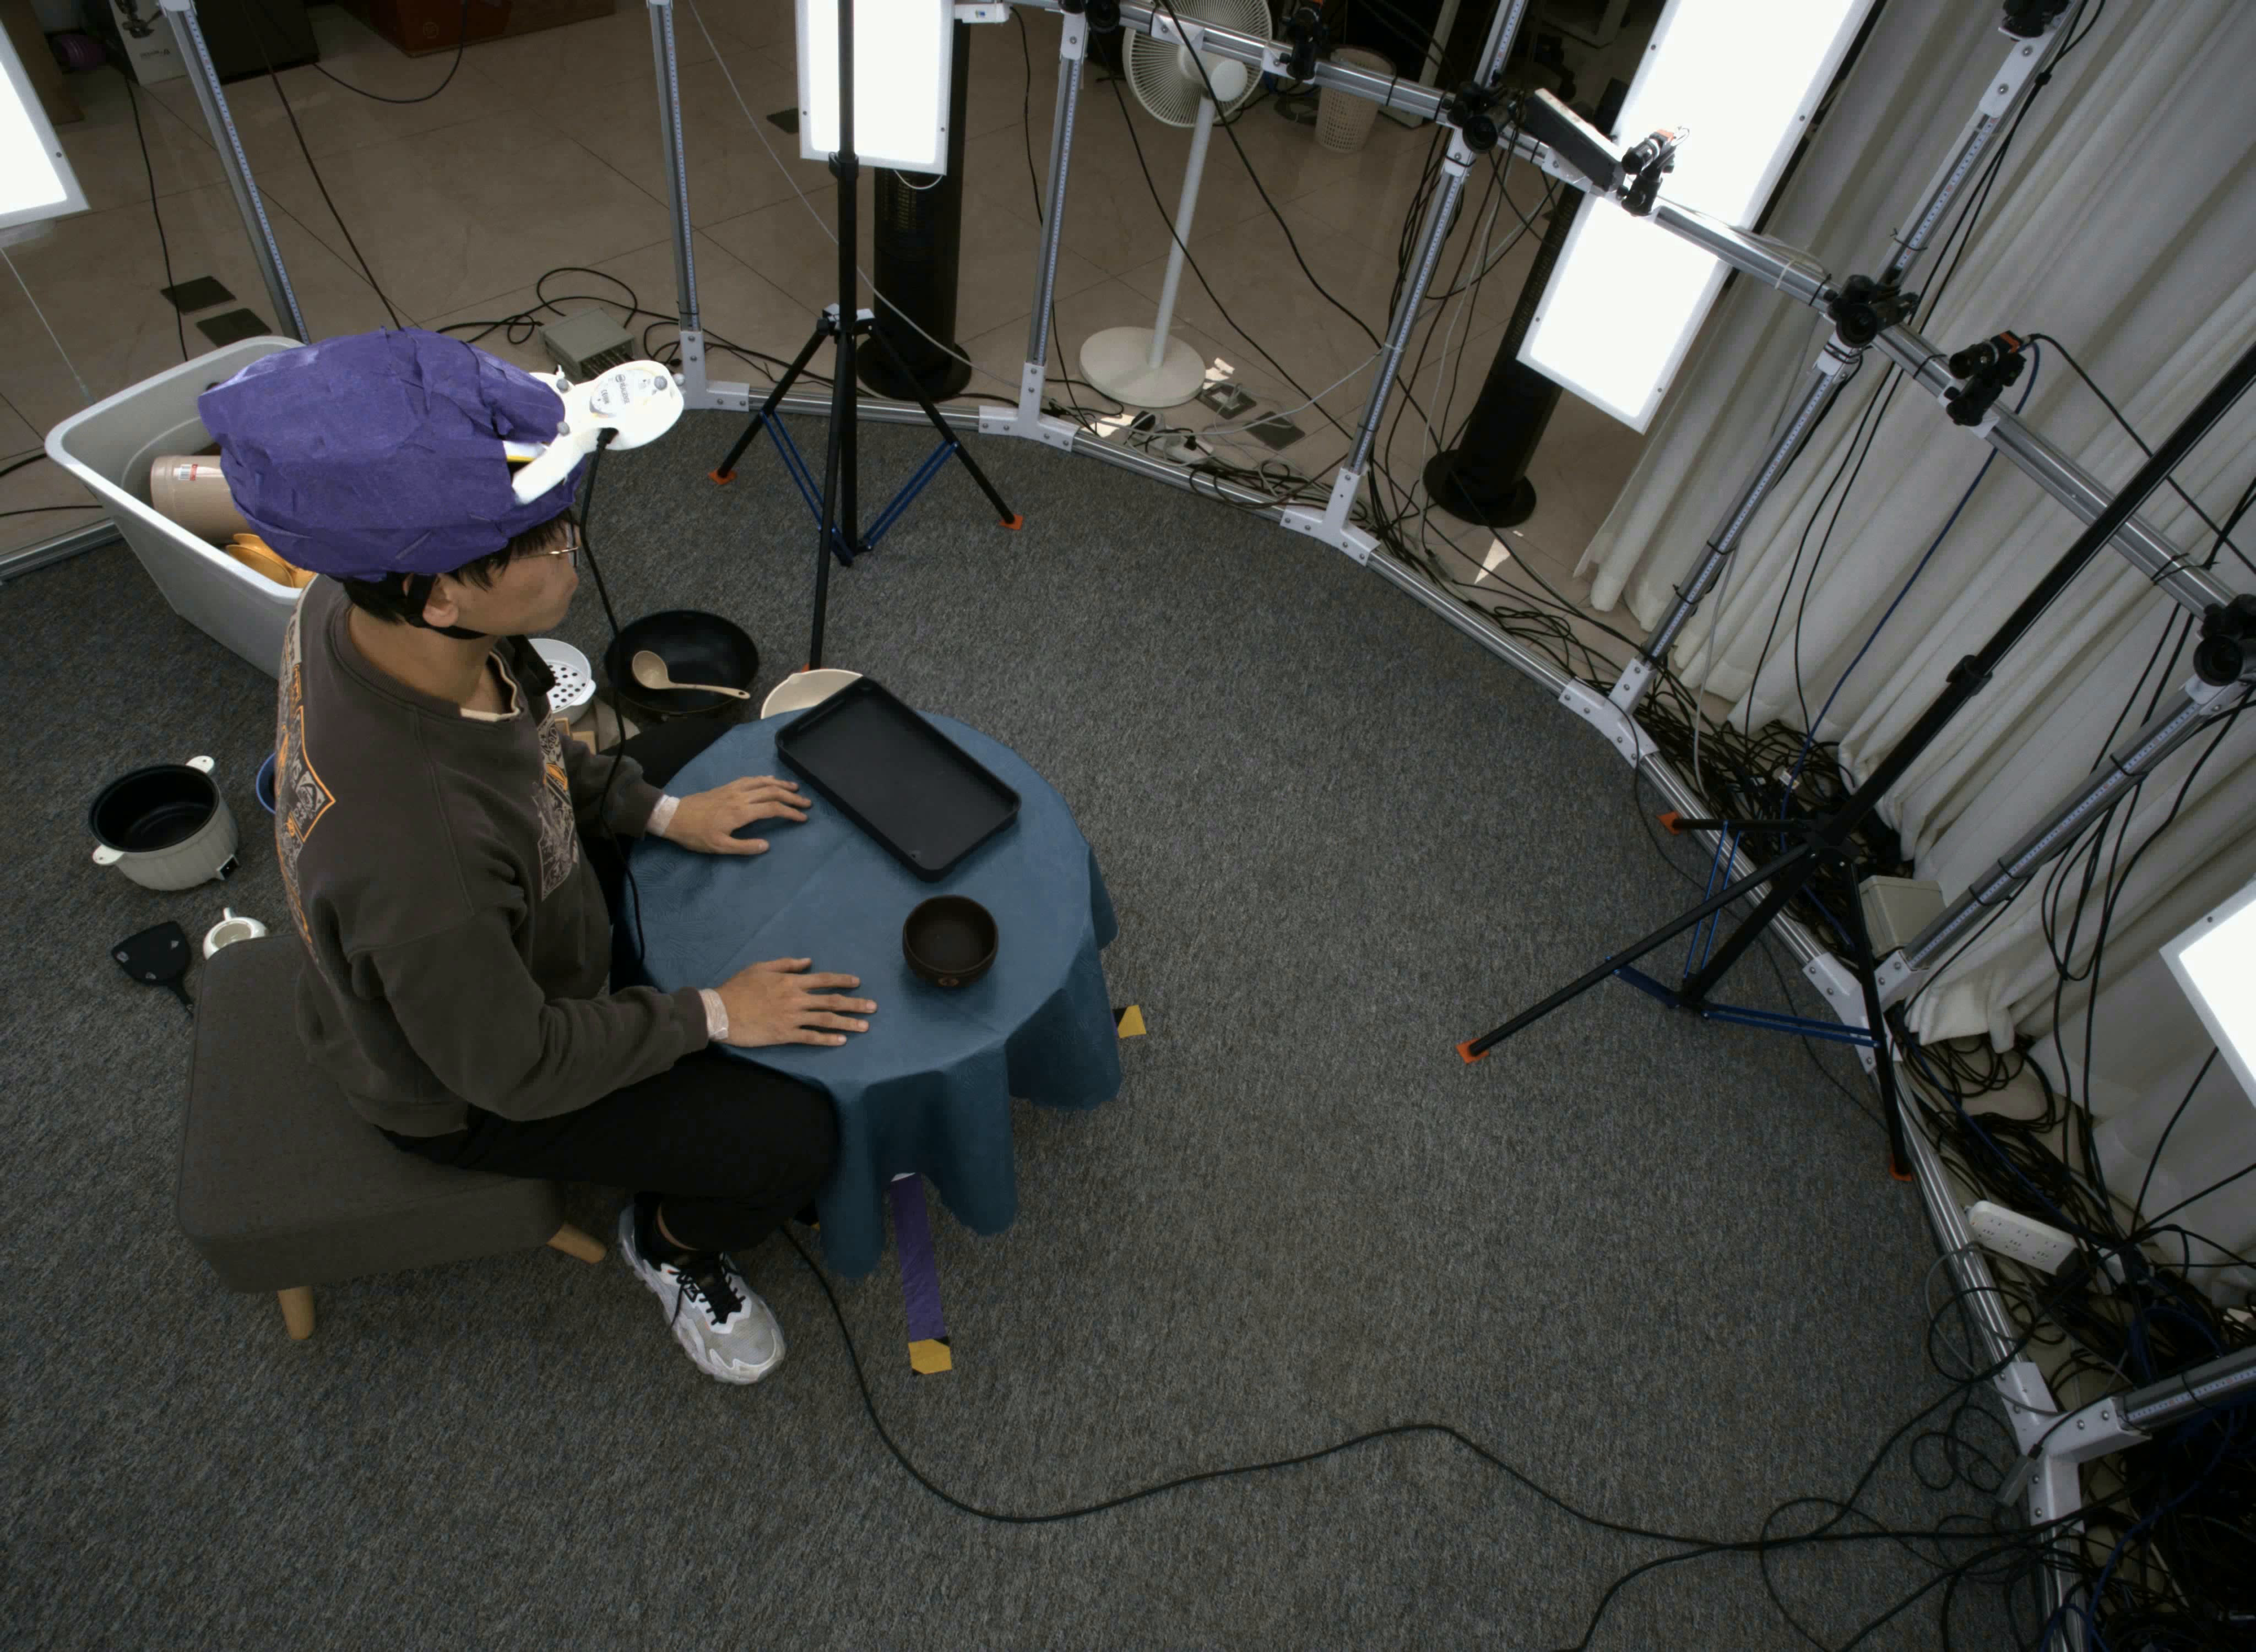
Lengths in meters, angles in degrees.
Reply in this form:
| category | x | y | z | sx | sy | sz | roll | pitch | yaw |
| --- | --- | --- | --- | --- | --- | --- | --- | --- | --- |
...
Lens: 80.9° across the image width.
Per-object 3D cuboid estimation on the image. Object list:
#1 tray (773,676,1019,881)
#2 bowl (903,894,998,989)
| category | x | y | z | sx | sy | sz | roll | pitch | yaw |
| --- | --- | --- | --- | --- | --- | --- | --- | --- | --- |
| tray | -0.320 | -0.070 | 1.793 | 0.312 | 0.038 | 0.184 | 37 | 55 | 13 |
| bowl | -0.223 | 0.150 | 1.631 | 0.117 | 0.071 | 0.116 | 6 | 54 | -7 |
